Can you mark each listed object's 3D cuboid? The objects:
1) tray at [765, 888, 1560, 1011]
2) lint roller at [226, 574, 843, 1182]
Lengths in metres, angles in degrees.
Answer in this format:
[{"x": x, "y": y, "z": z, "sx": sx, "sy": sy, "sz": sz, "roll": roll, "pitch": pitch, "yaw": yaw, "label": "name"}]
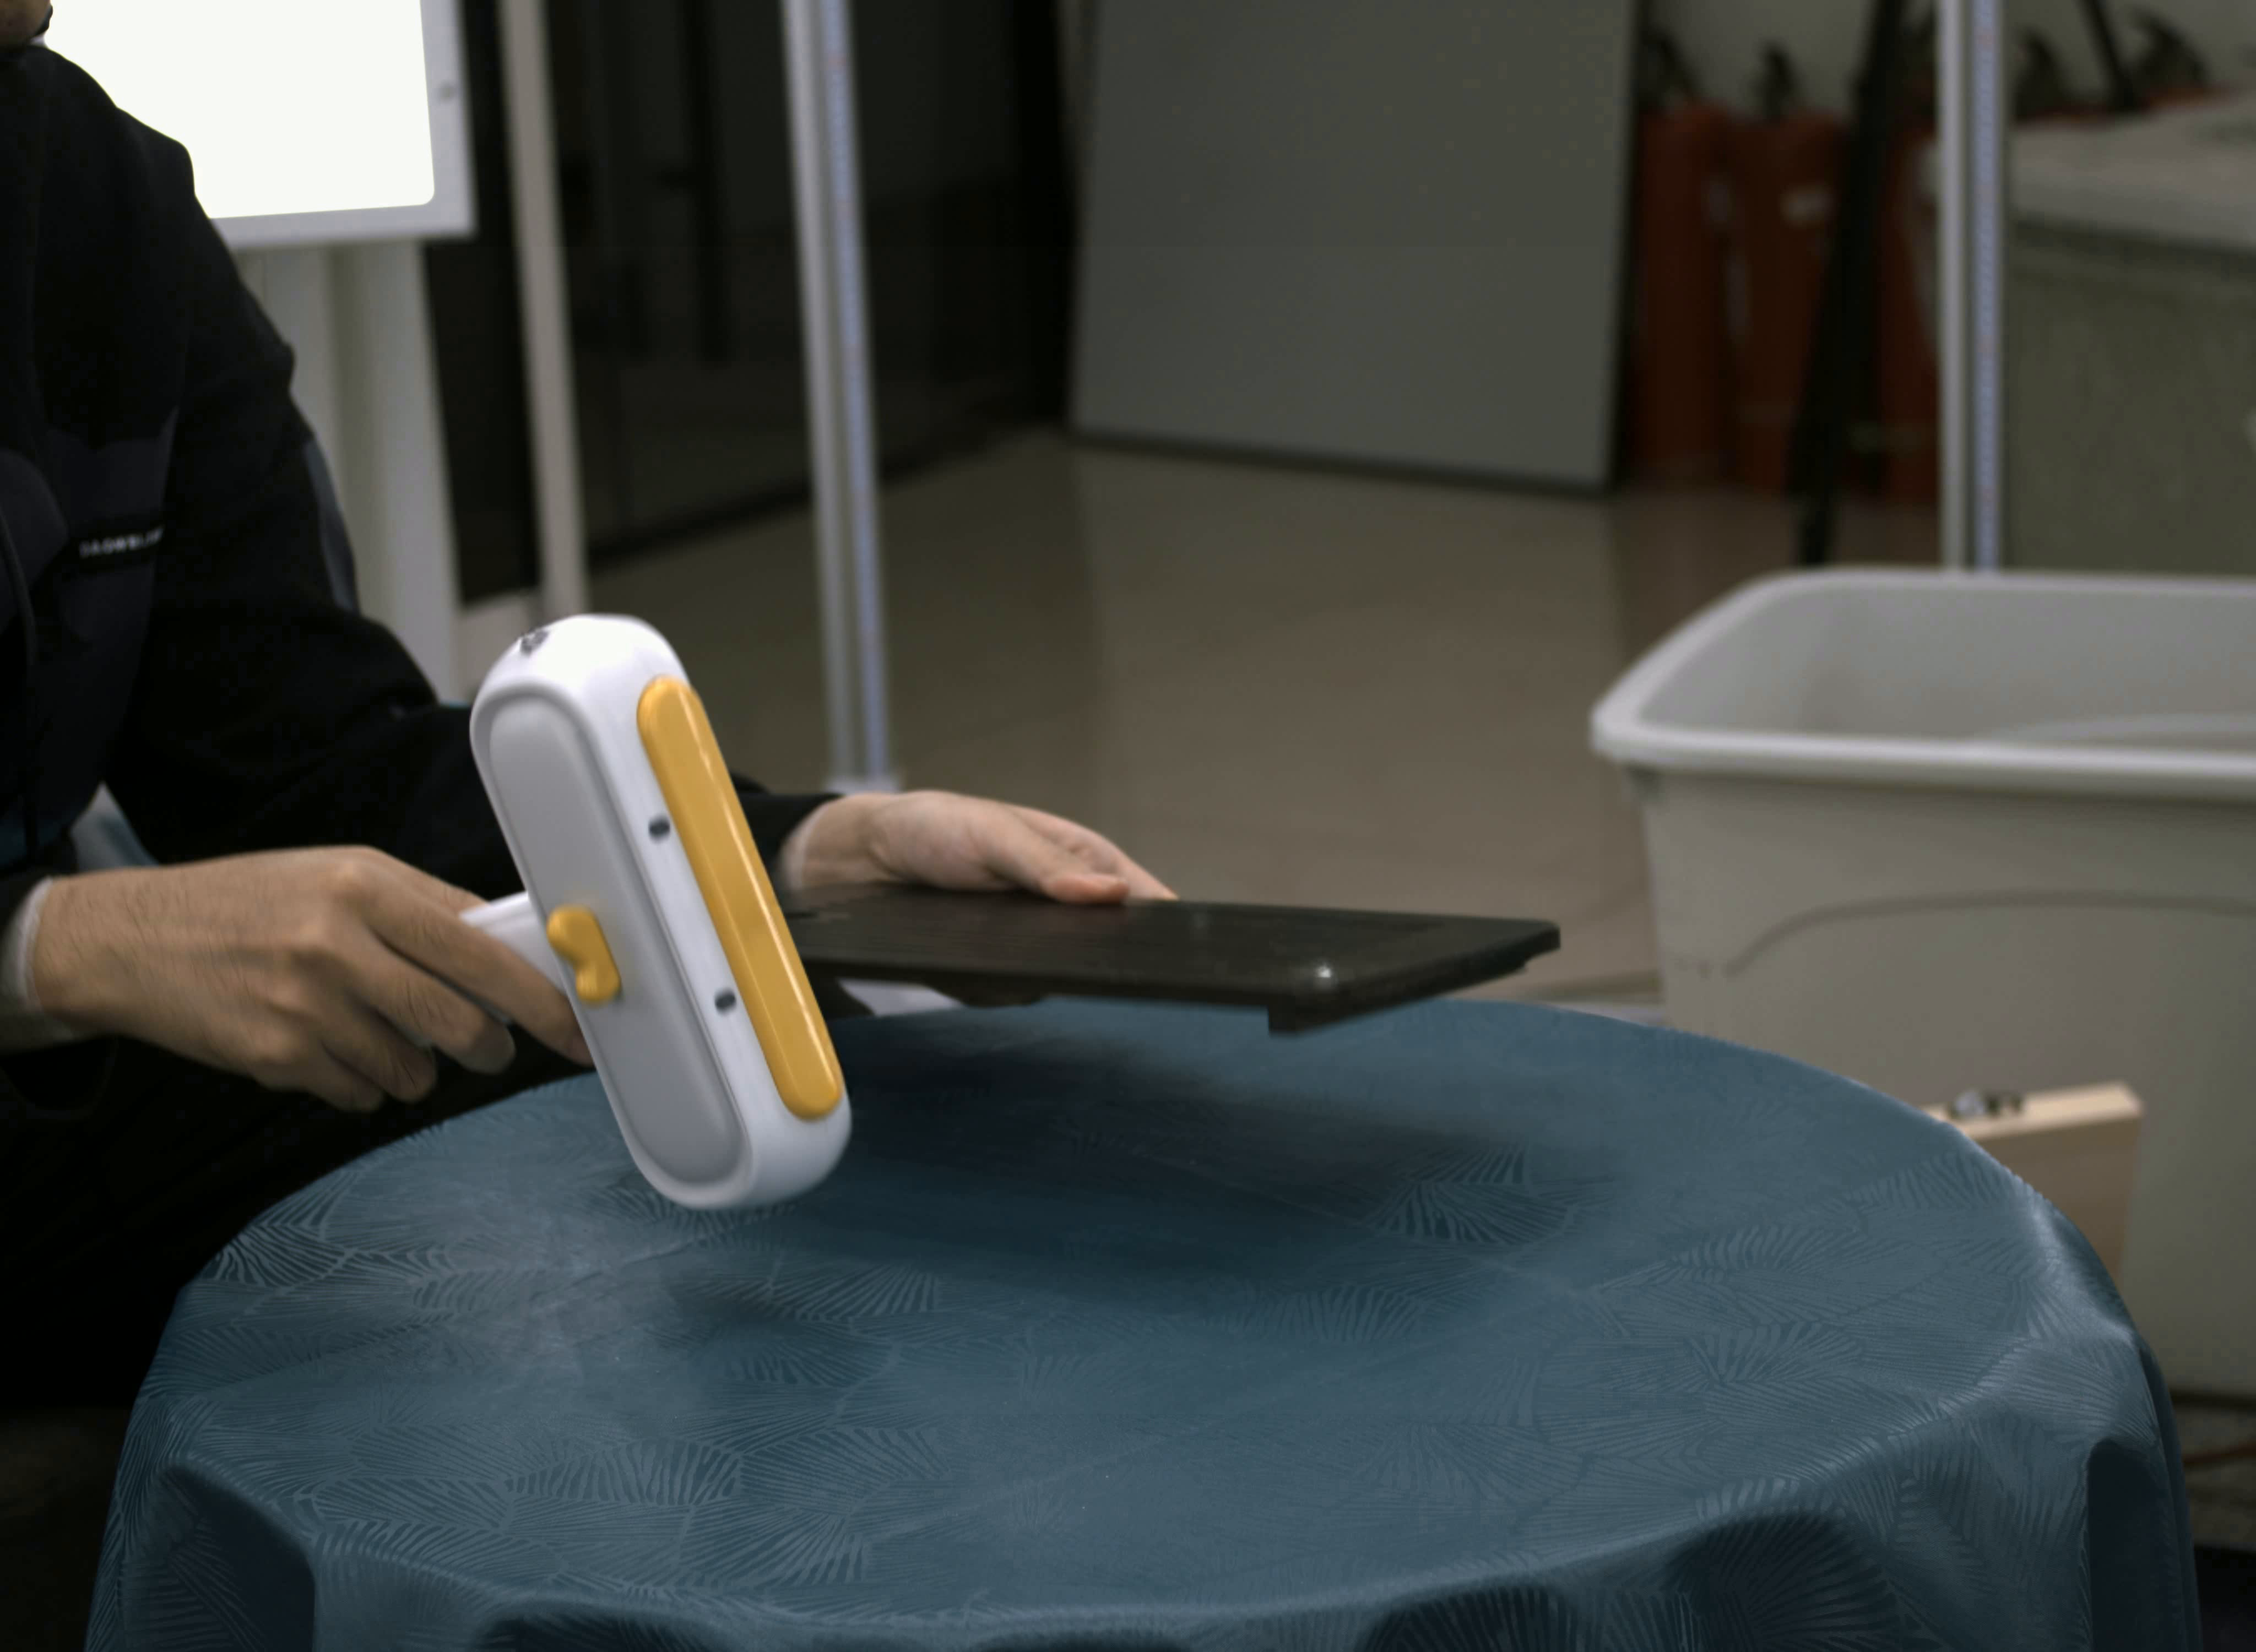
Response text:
[{"x": -0.022, "y": 0.040, "z": 1.815, "sx": 0.307, "sy": 0.019, "sz": 0.167, "roll": 1, "pitch": 5, "yaw": 34, "label": "tray"}, {"x": -0.197, "y": 0.037, "z": 1.692, "sx": 0.193, "sy": 0.194, "sz": 0.073, "roll": -20, "pitch": 9, "yaw": 33, "label": "lint roller"}]
